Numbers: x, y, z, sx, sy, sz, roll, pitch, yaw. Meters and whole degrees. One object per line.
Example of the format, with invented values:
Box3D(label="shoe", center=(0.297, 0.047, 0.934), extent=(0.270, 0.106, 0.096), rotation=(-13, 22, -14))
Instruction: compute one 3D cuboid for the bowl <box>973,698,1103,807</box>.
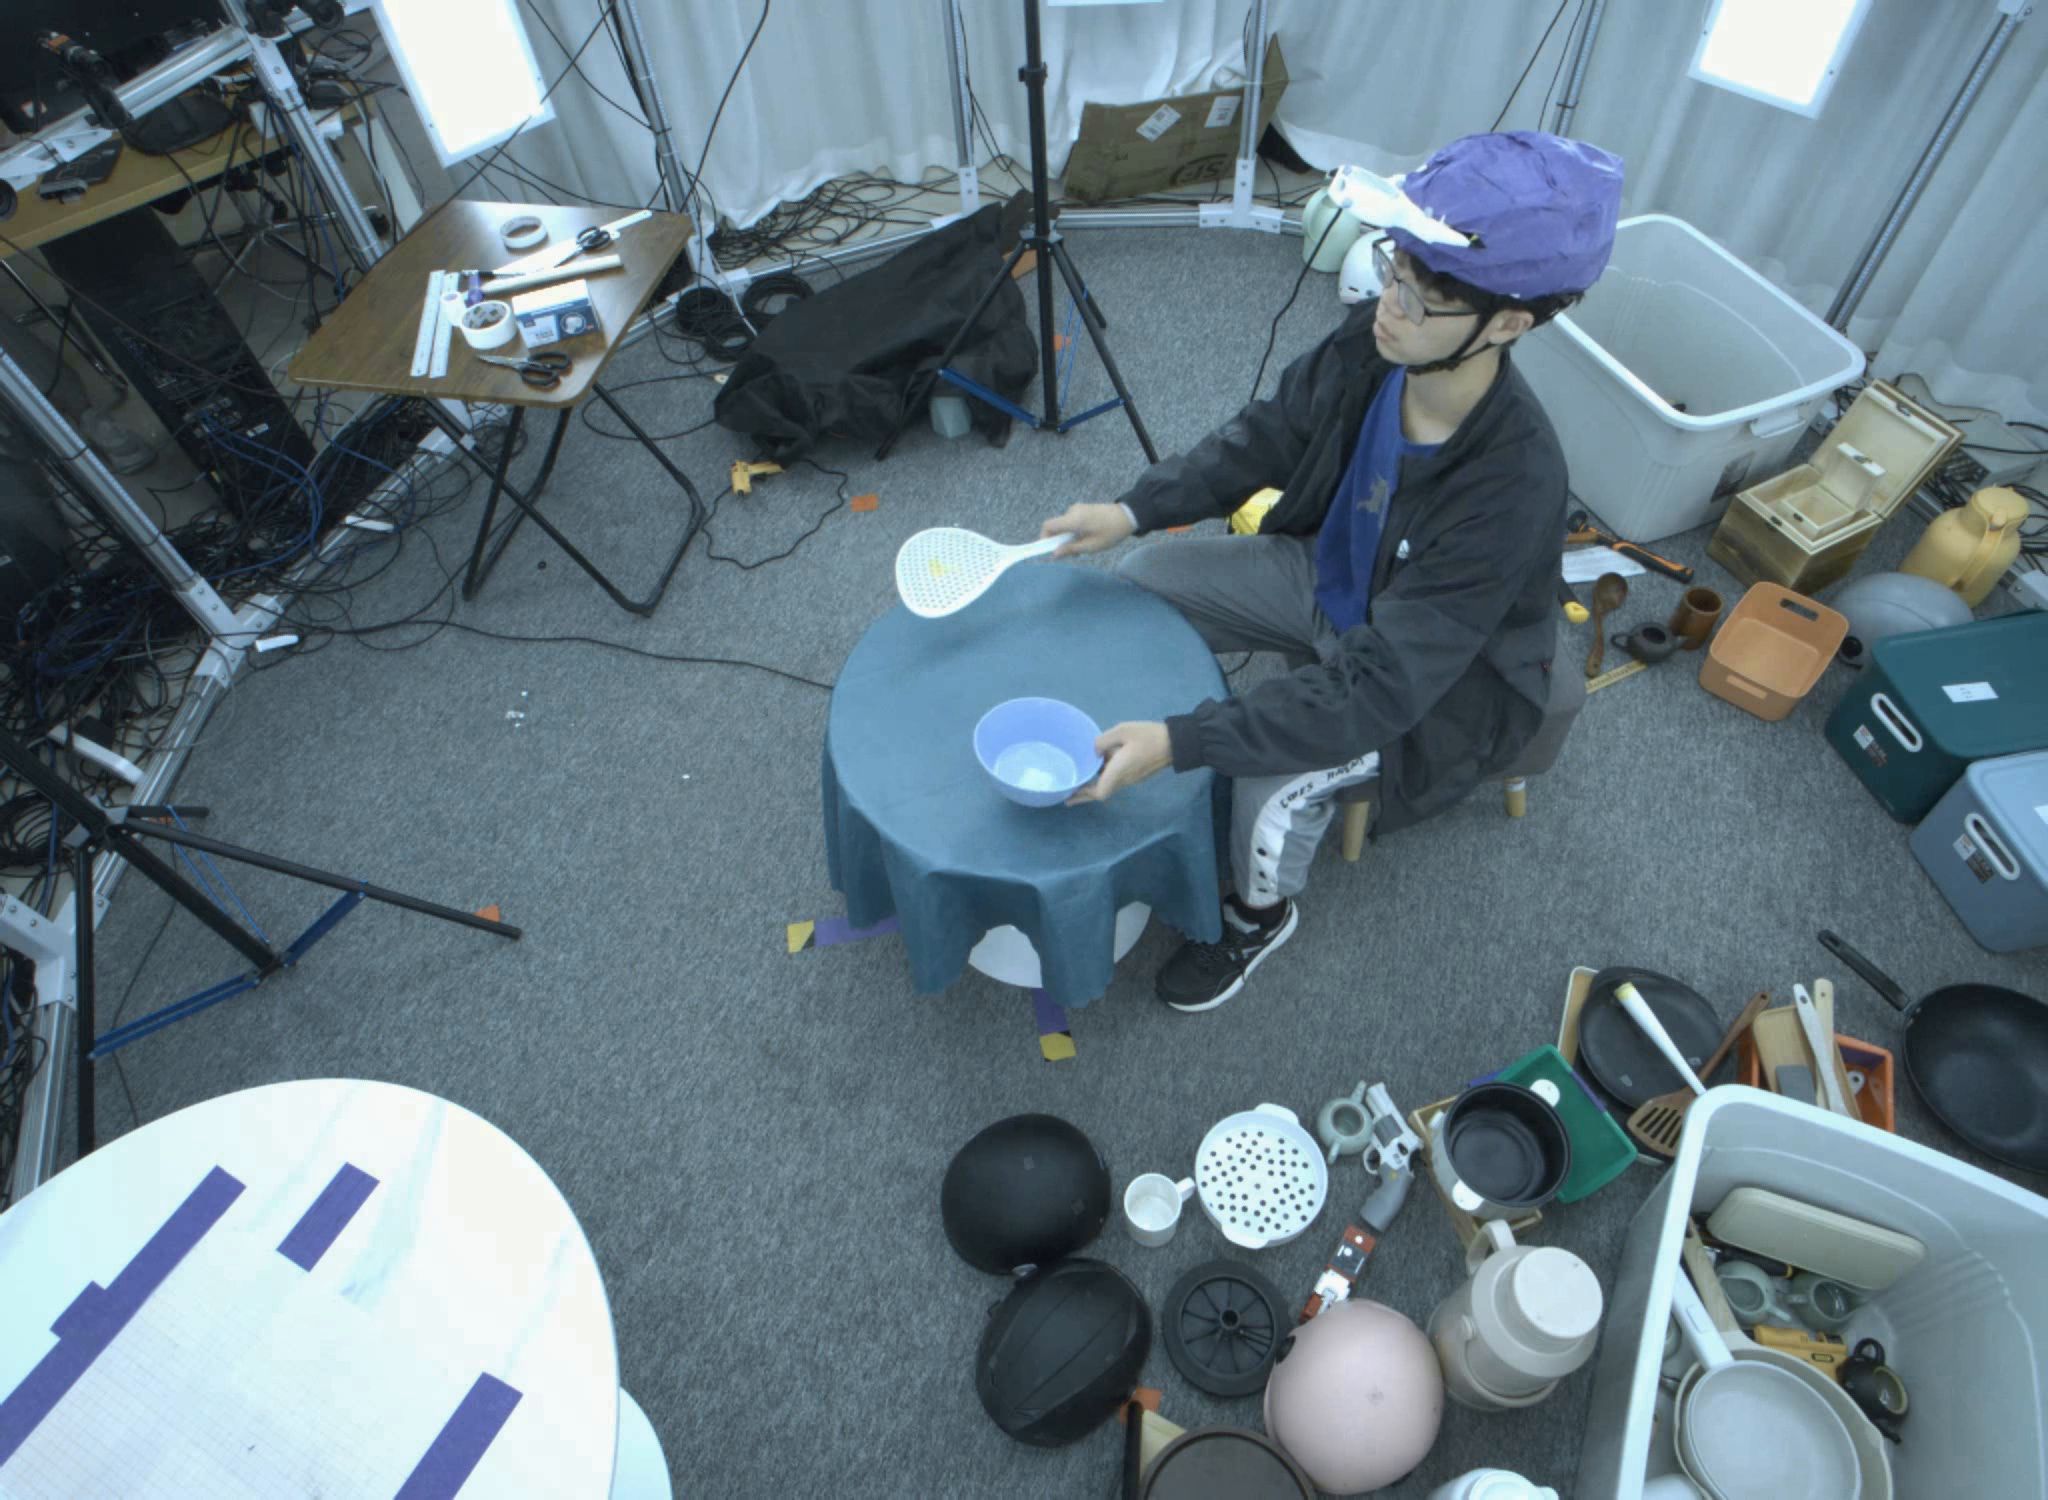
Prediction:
Box3D(label="bowl", center=(0.015, 0.013, 1.665), extent=(0.177, 0.071, 0.174), rotation=(6, 47, -5))

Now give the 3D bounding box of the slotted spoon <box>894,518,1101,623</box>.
Box3D(label="slotted spoon", center=(-0.034, -0.295, 1.867), extent=(0.351, 0.138, 0.049), rotation=(-18, 20, -14))
